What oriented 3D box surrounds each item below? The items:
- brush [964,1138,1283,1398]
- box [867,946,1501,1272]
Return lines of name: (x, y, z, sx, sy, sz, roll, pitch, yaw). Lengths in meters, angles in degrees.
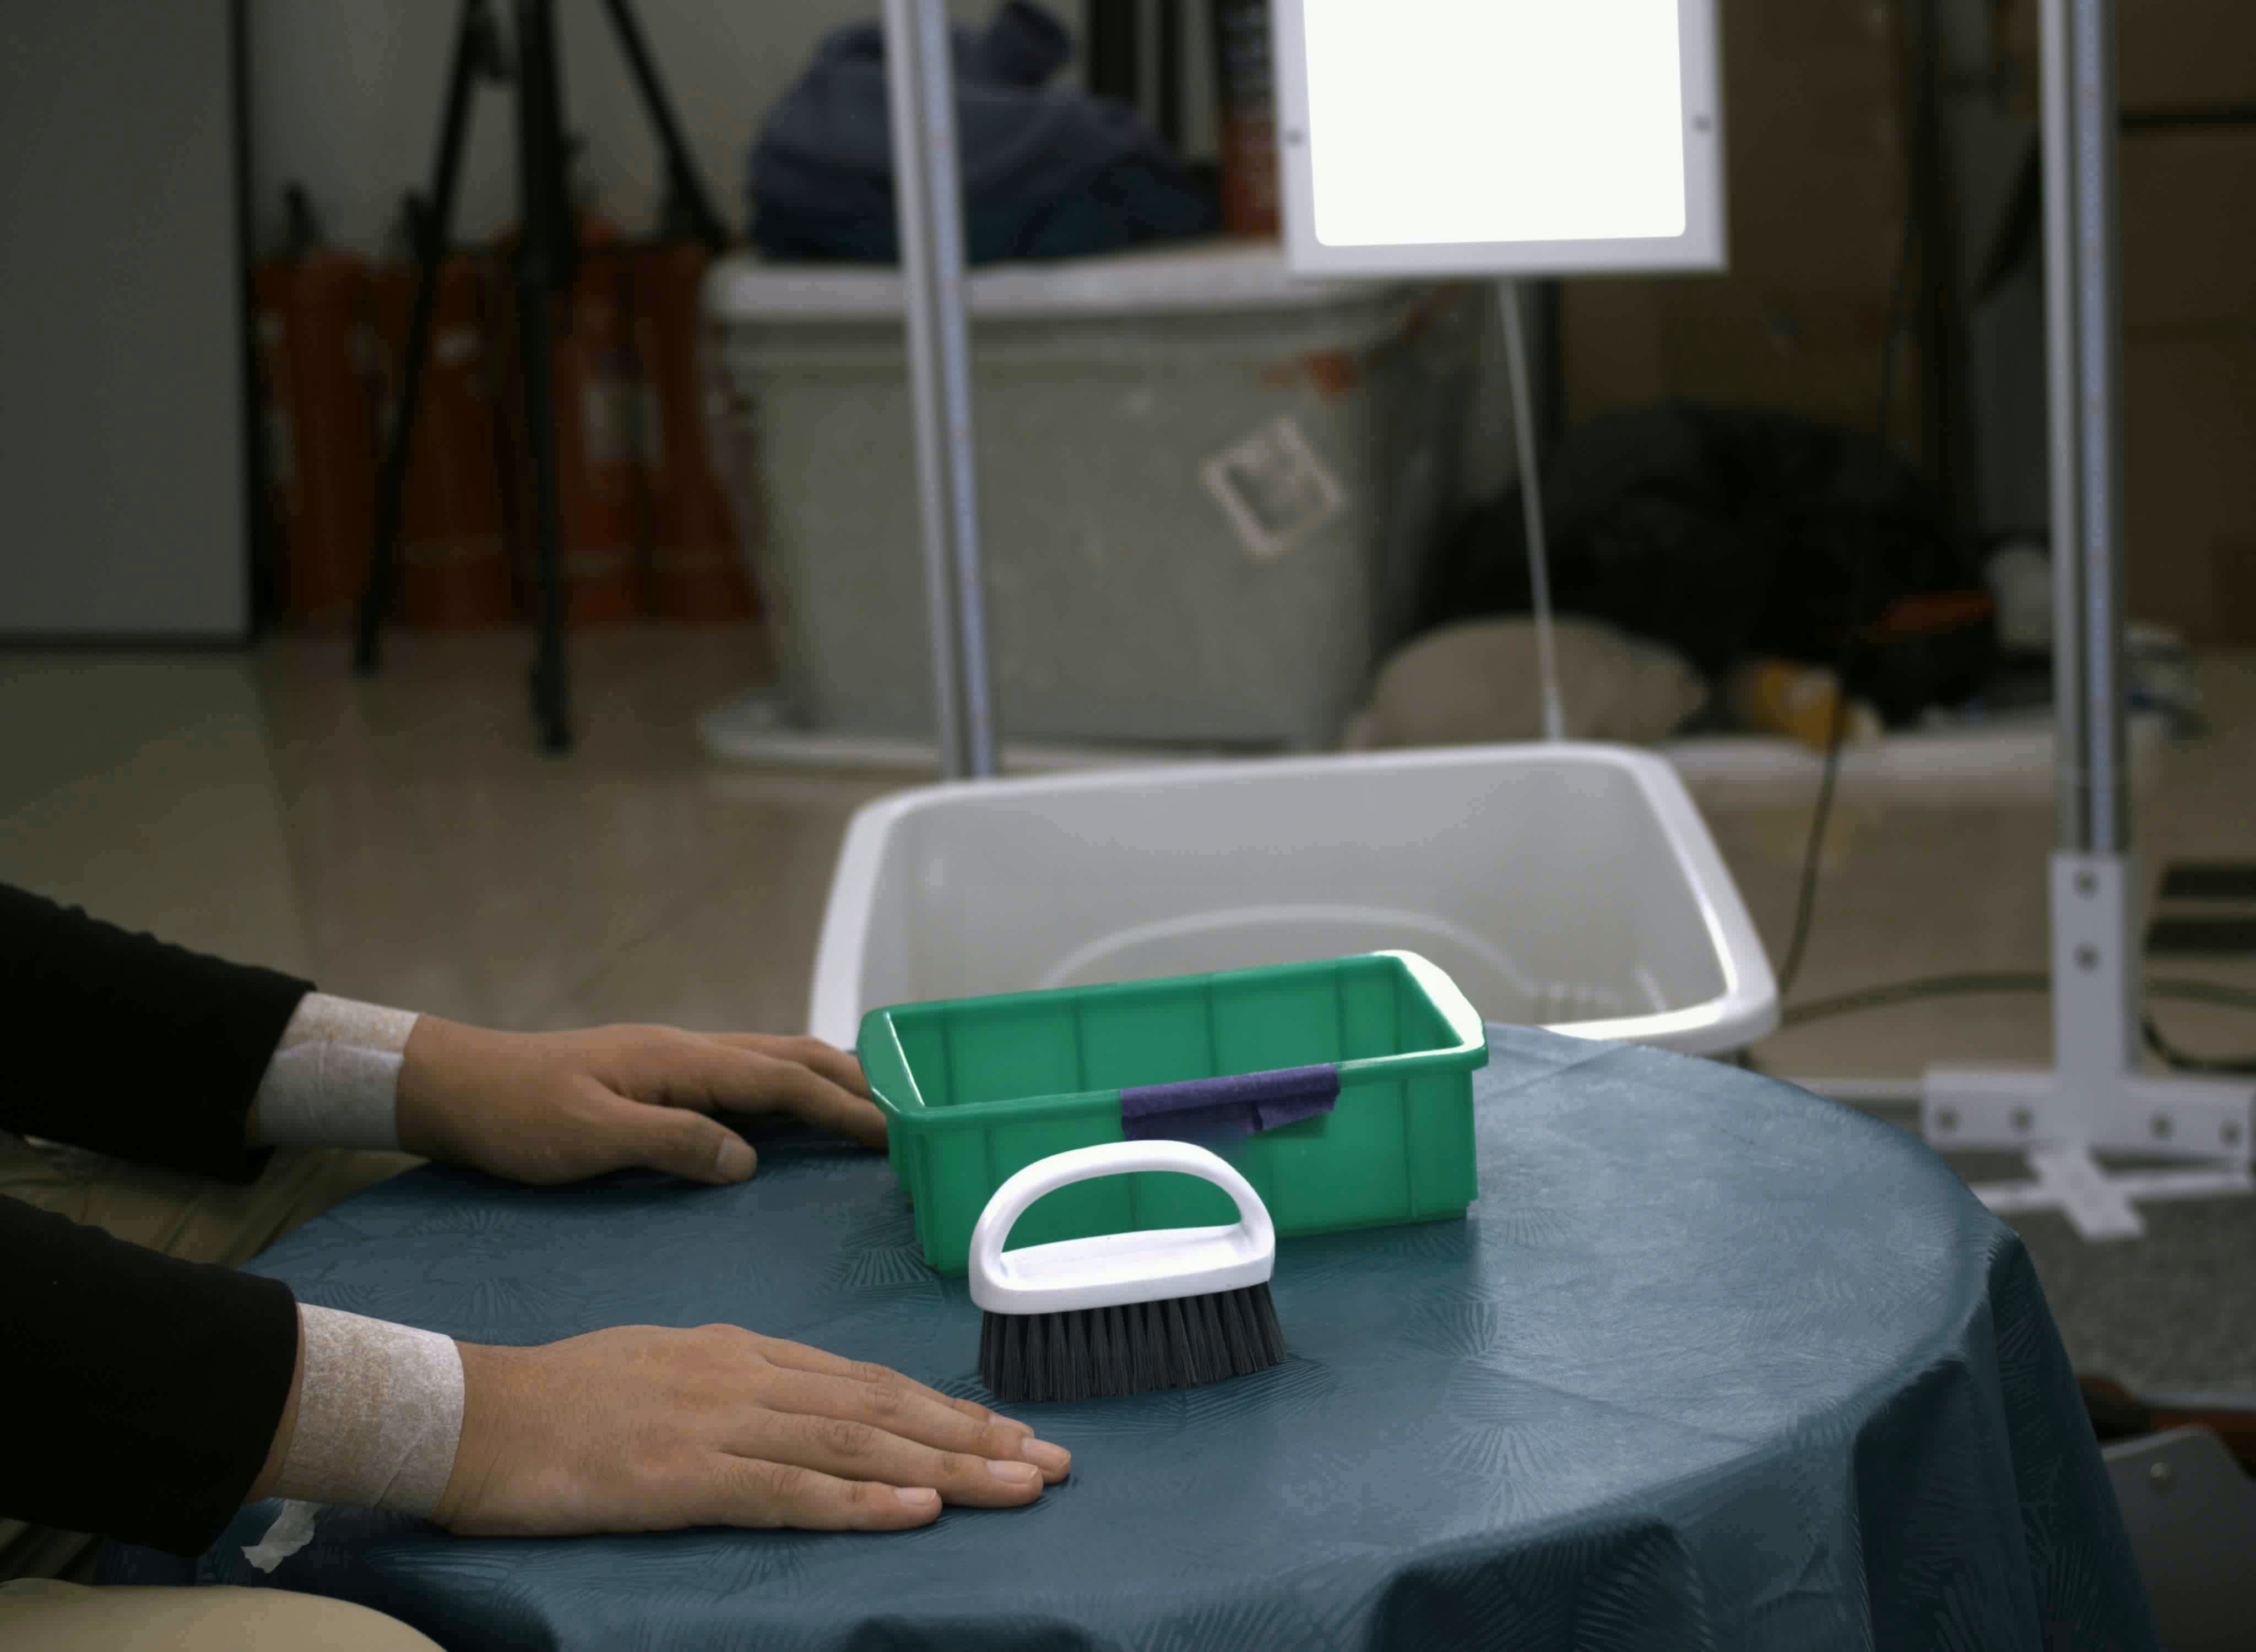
brush: (-0.003, 0.134, 1.715, 0.098, 0.073, 0.050, -6, 14, -4)
box: (0.019, 0.097, 1.882, 0.209, 0.065, 0.139, -6, 16, -7)
